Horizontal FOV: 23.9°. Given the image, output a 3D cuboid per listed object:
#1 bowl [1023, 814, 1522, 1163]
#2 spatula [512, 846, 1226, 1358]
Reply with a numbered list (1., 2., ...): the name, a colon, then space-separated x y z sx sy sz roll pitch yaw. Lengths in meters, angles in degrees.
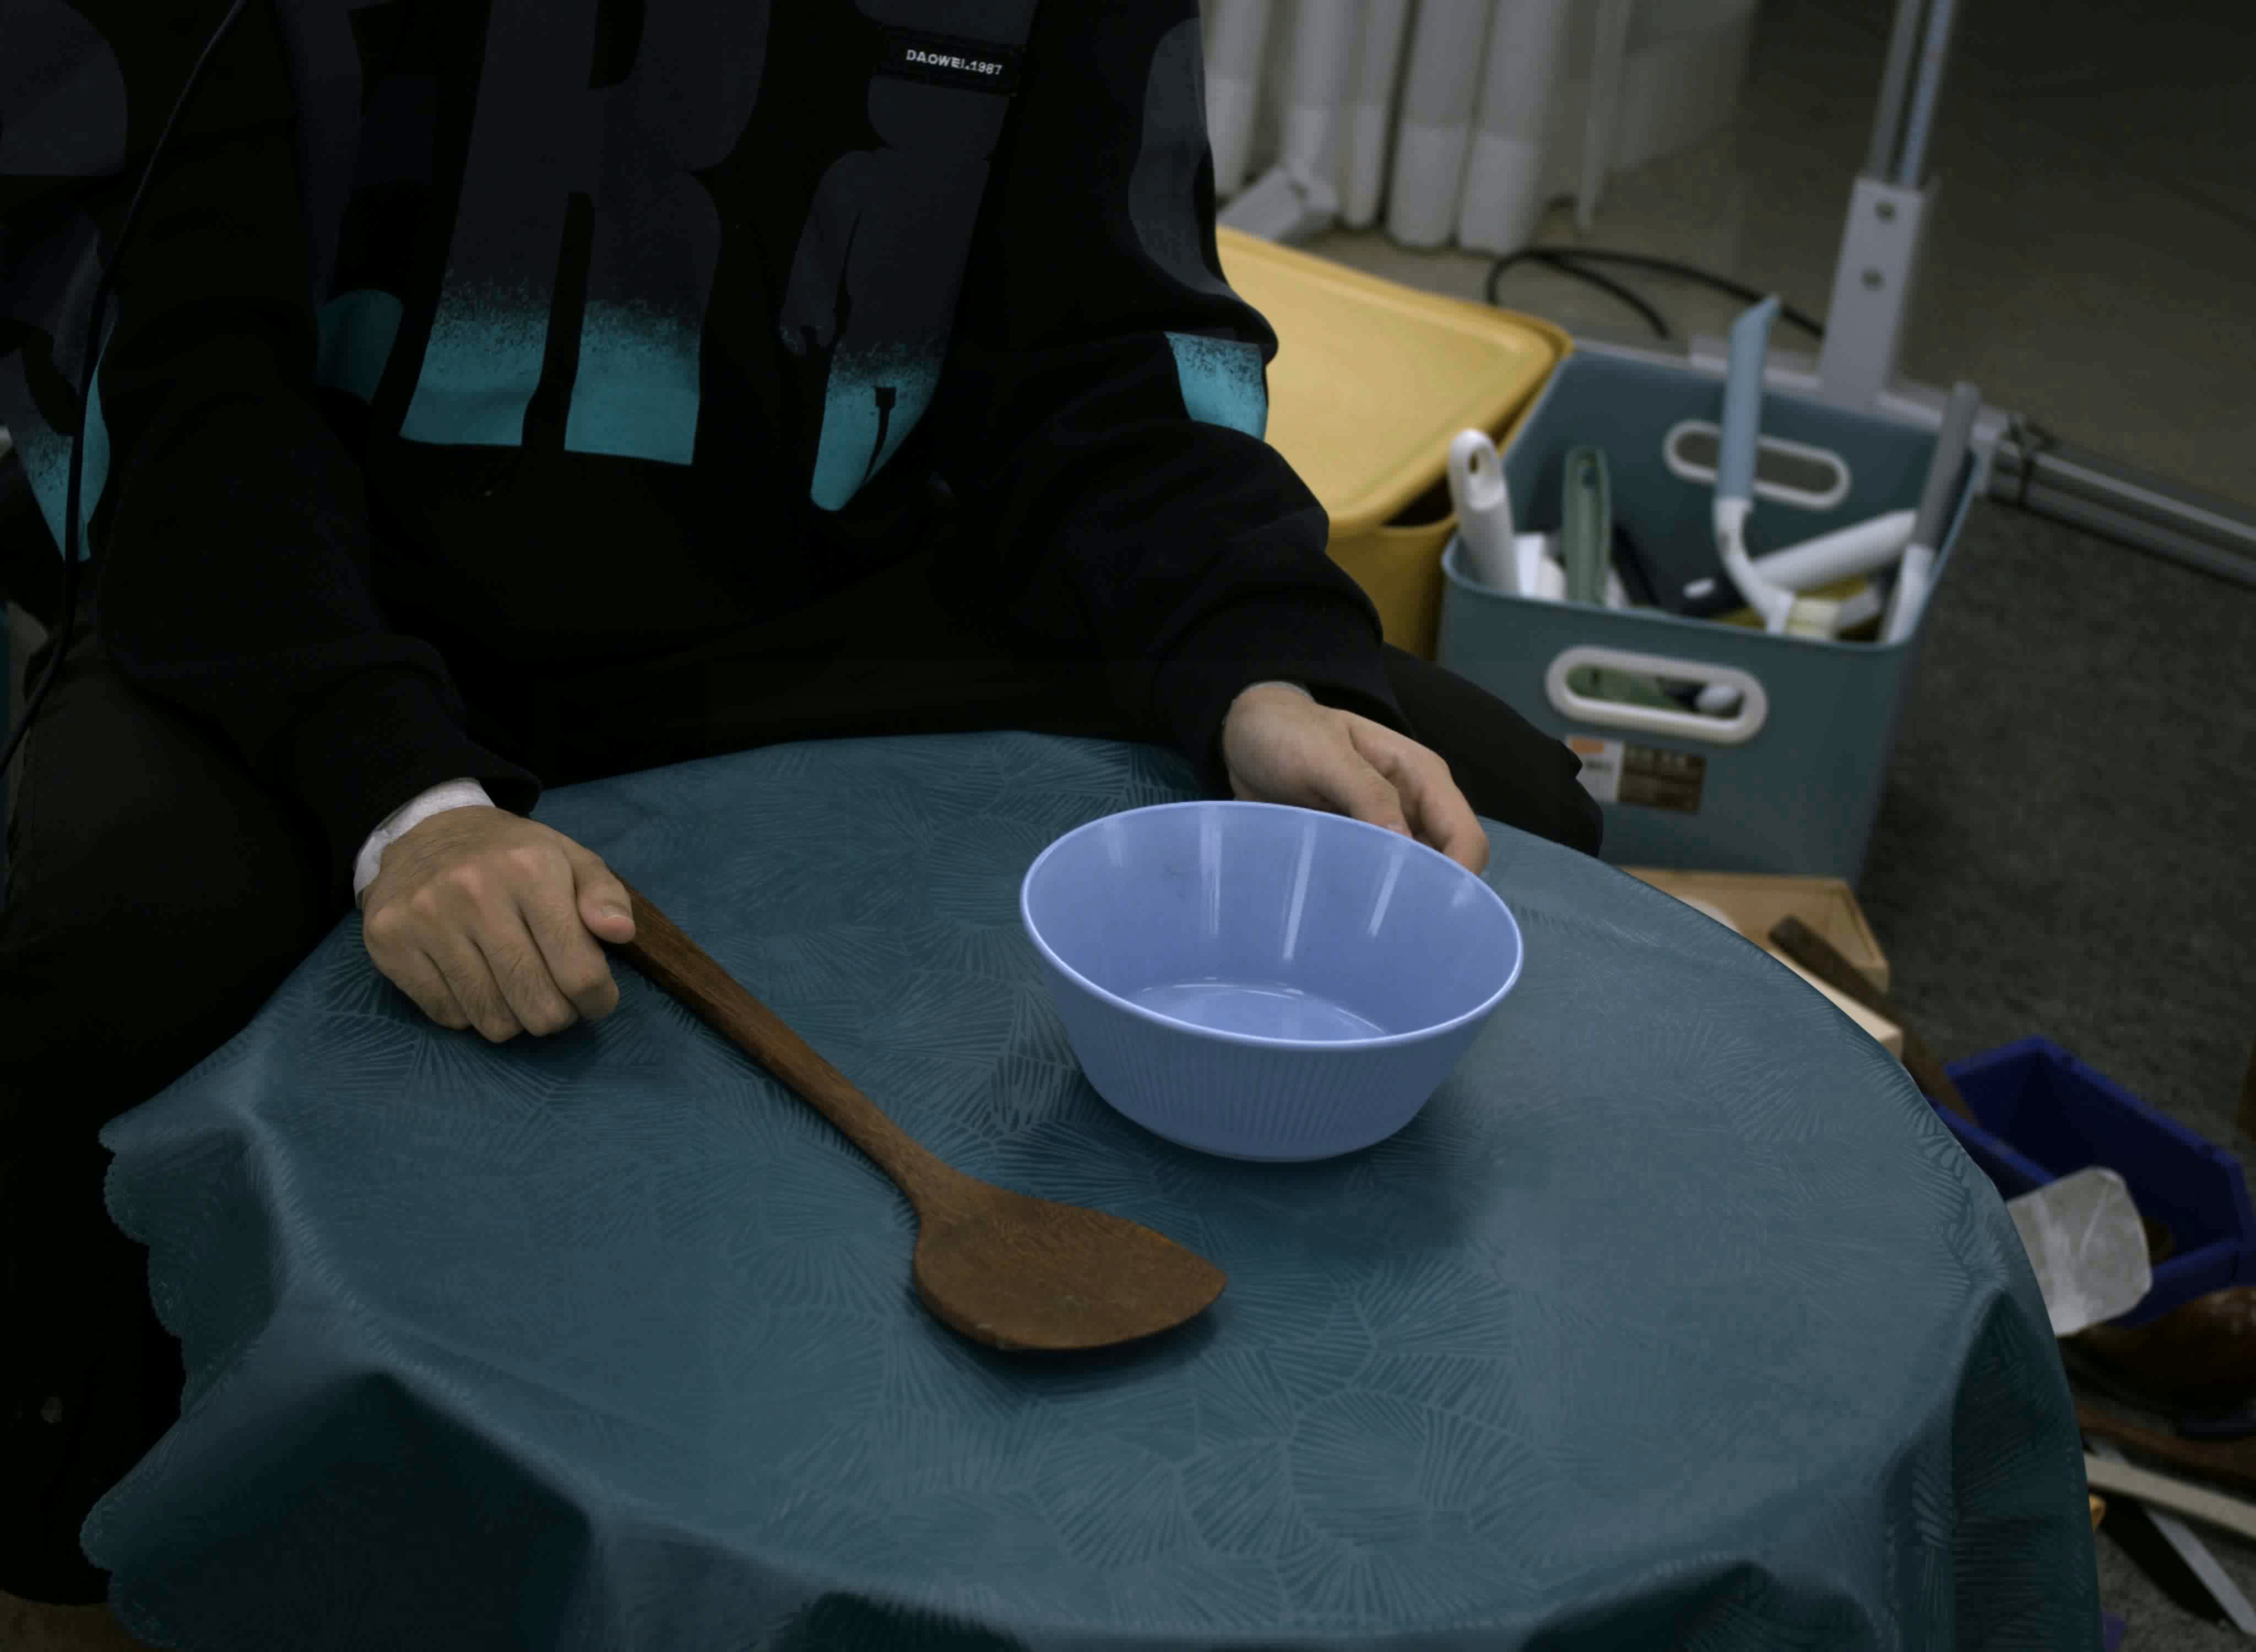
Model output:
1. bowl: 0.047 0.062 1.857 0.175 0.070 0.177 5 25 -3
2. spatula: -0.109 0.087 1.834 0.095 0.016 0.389 -13 32 -34
